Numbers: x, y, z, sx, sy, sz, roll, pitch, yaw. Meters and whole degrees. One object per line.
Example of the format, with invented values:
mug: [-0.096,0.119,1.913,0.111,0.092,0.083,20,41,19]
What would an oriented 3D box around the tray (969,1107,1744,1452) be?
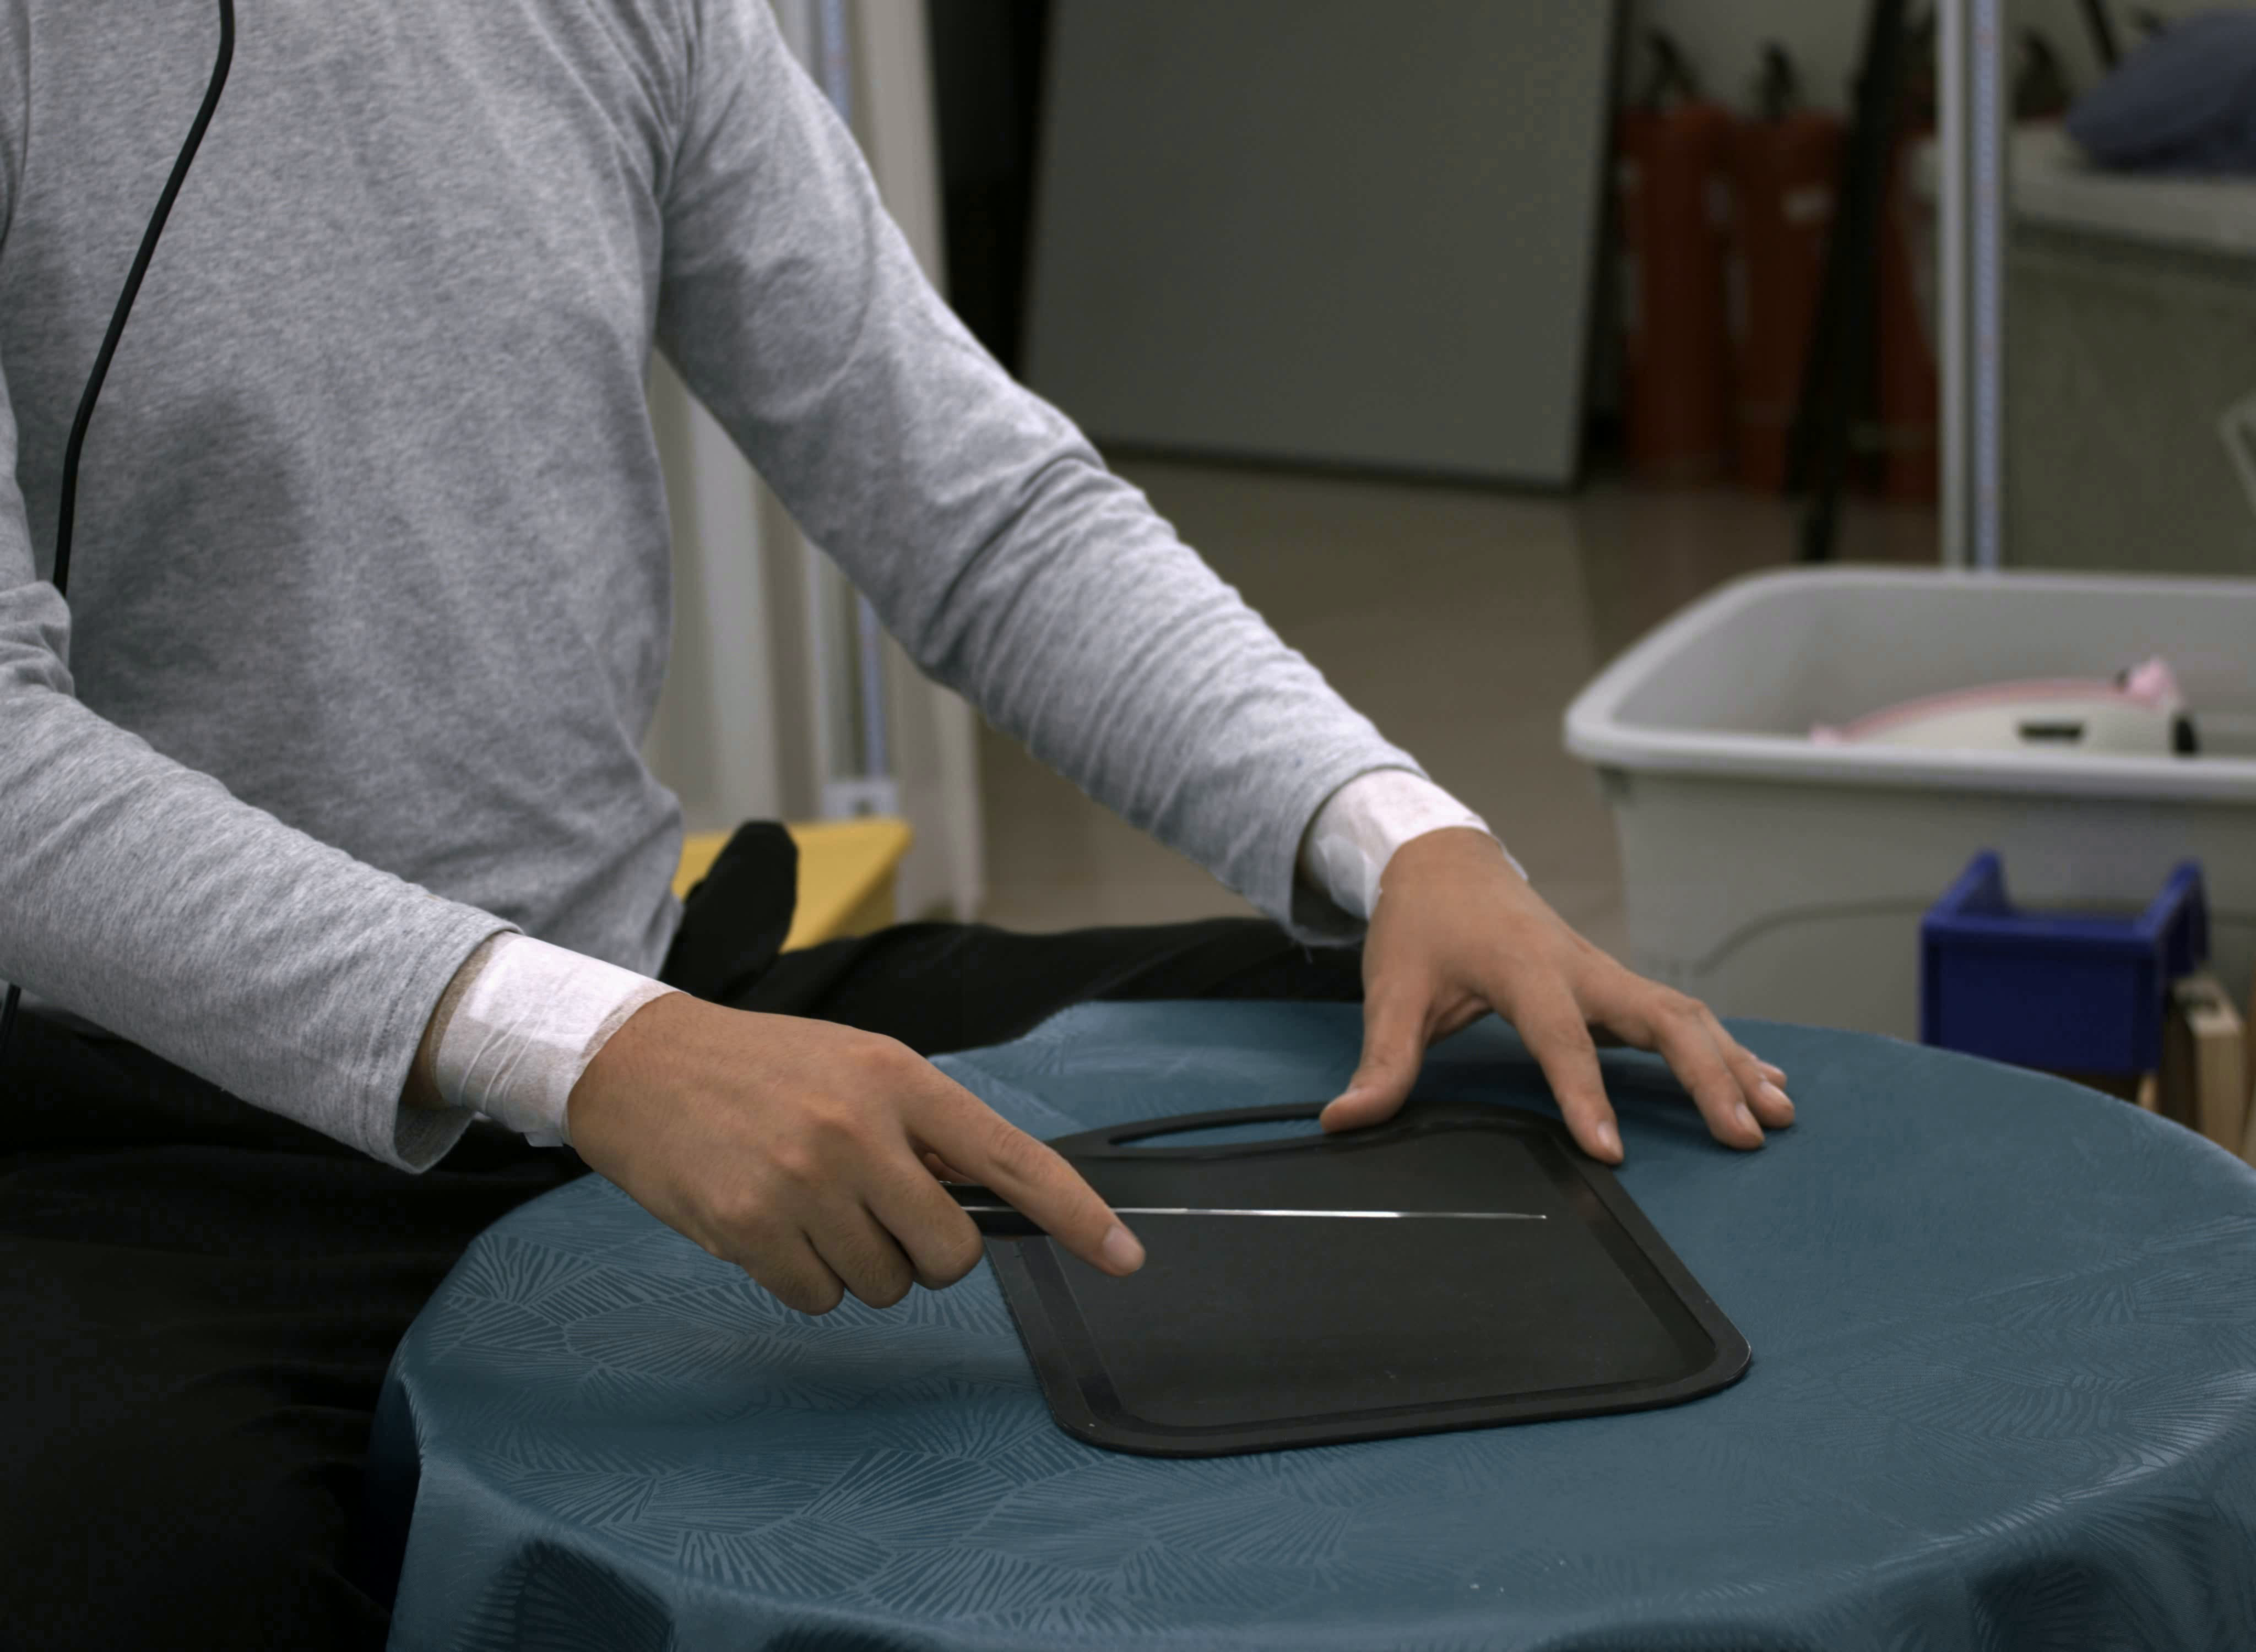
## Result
tray: [0.062,0.135,1.689,0.208,0.010,0.327,-6,13,-6]

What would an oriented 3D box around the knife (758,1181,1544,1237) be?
knife: [0.007,0.114,1.605,0.235,0.016,0.024,0,-1,4]
